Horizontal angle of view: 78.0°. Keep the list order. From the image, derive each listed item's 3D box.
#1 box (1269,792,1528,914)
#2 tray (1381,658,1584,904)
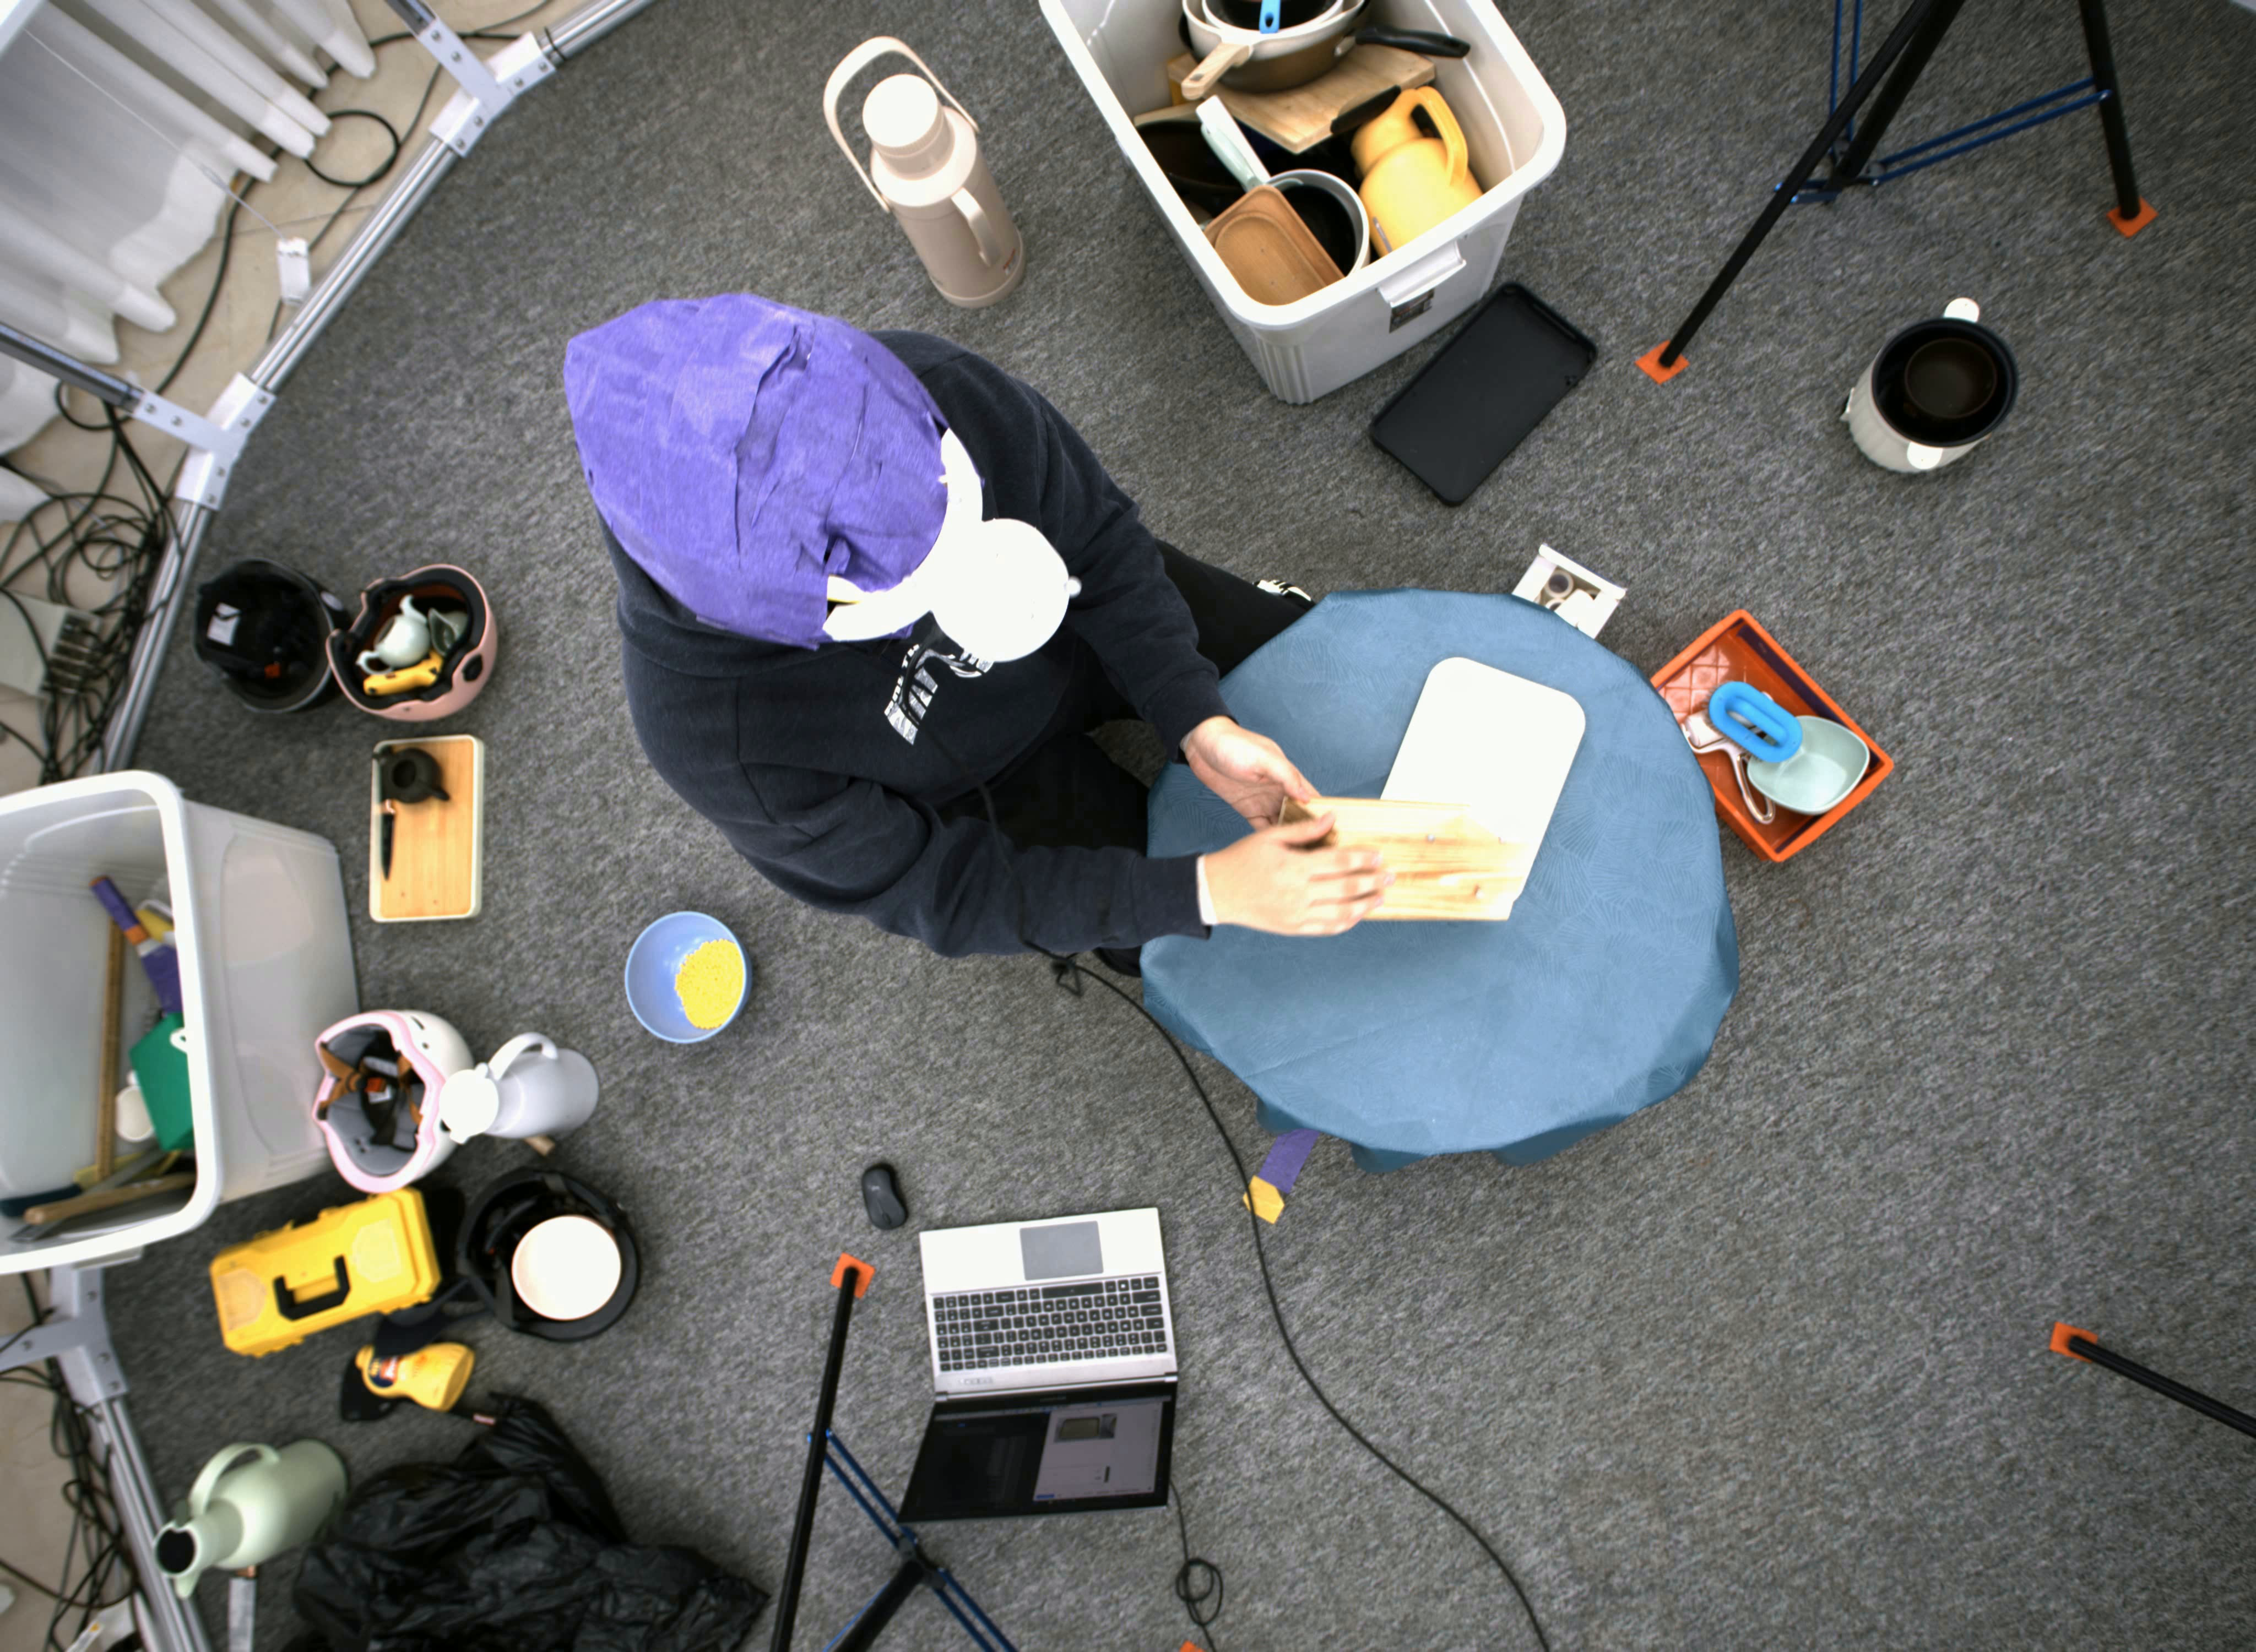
[{"bbox_3d":[0.255,0.025,1.304,0.210,0.106,0.081,2,110,-25],"label":"box"},{"bbox_3d":[0.364,-0.048,1.441,0.171,0.017,0.239,22,91,12],"label":"tray"}]
